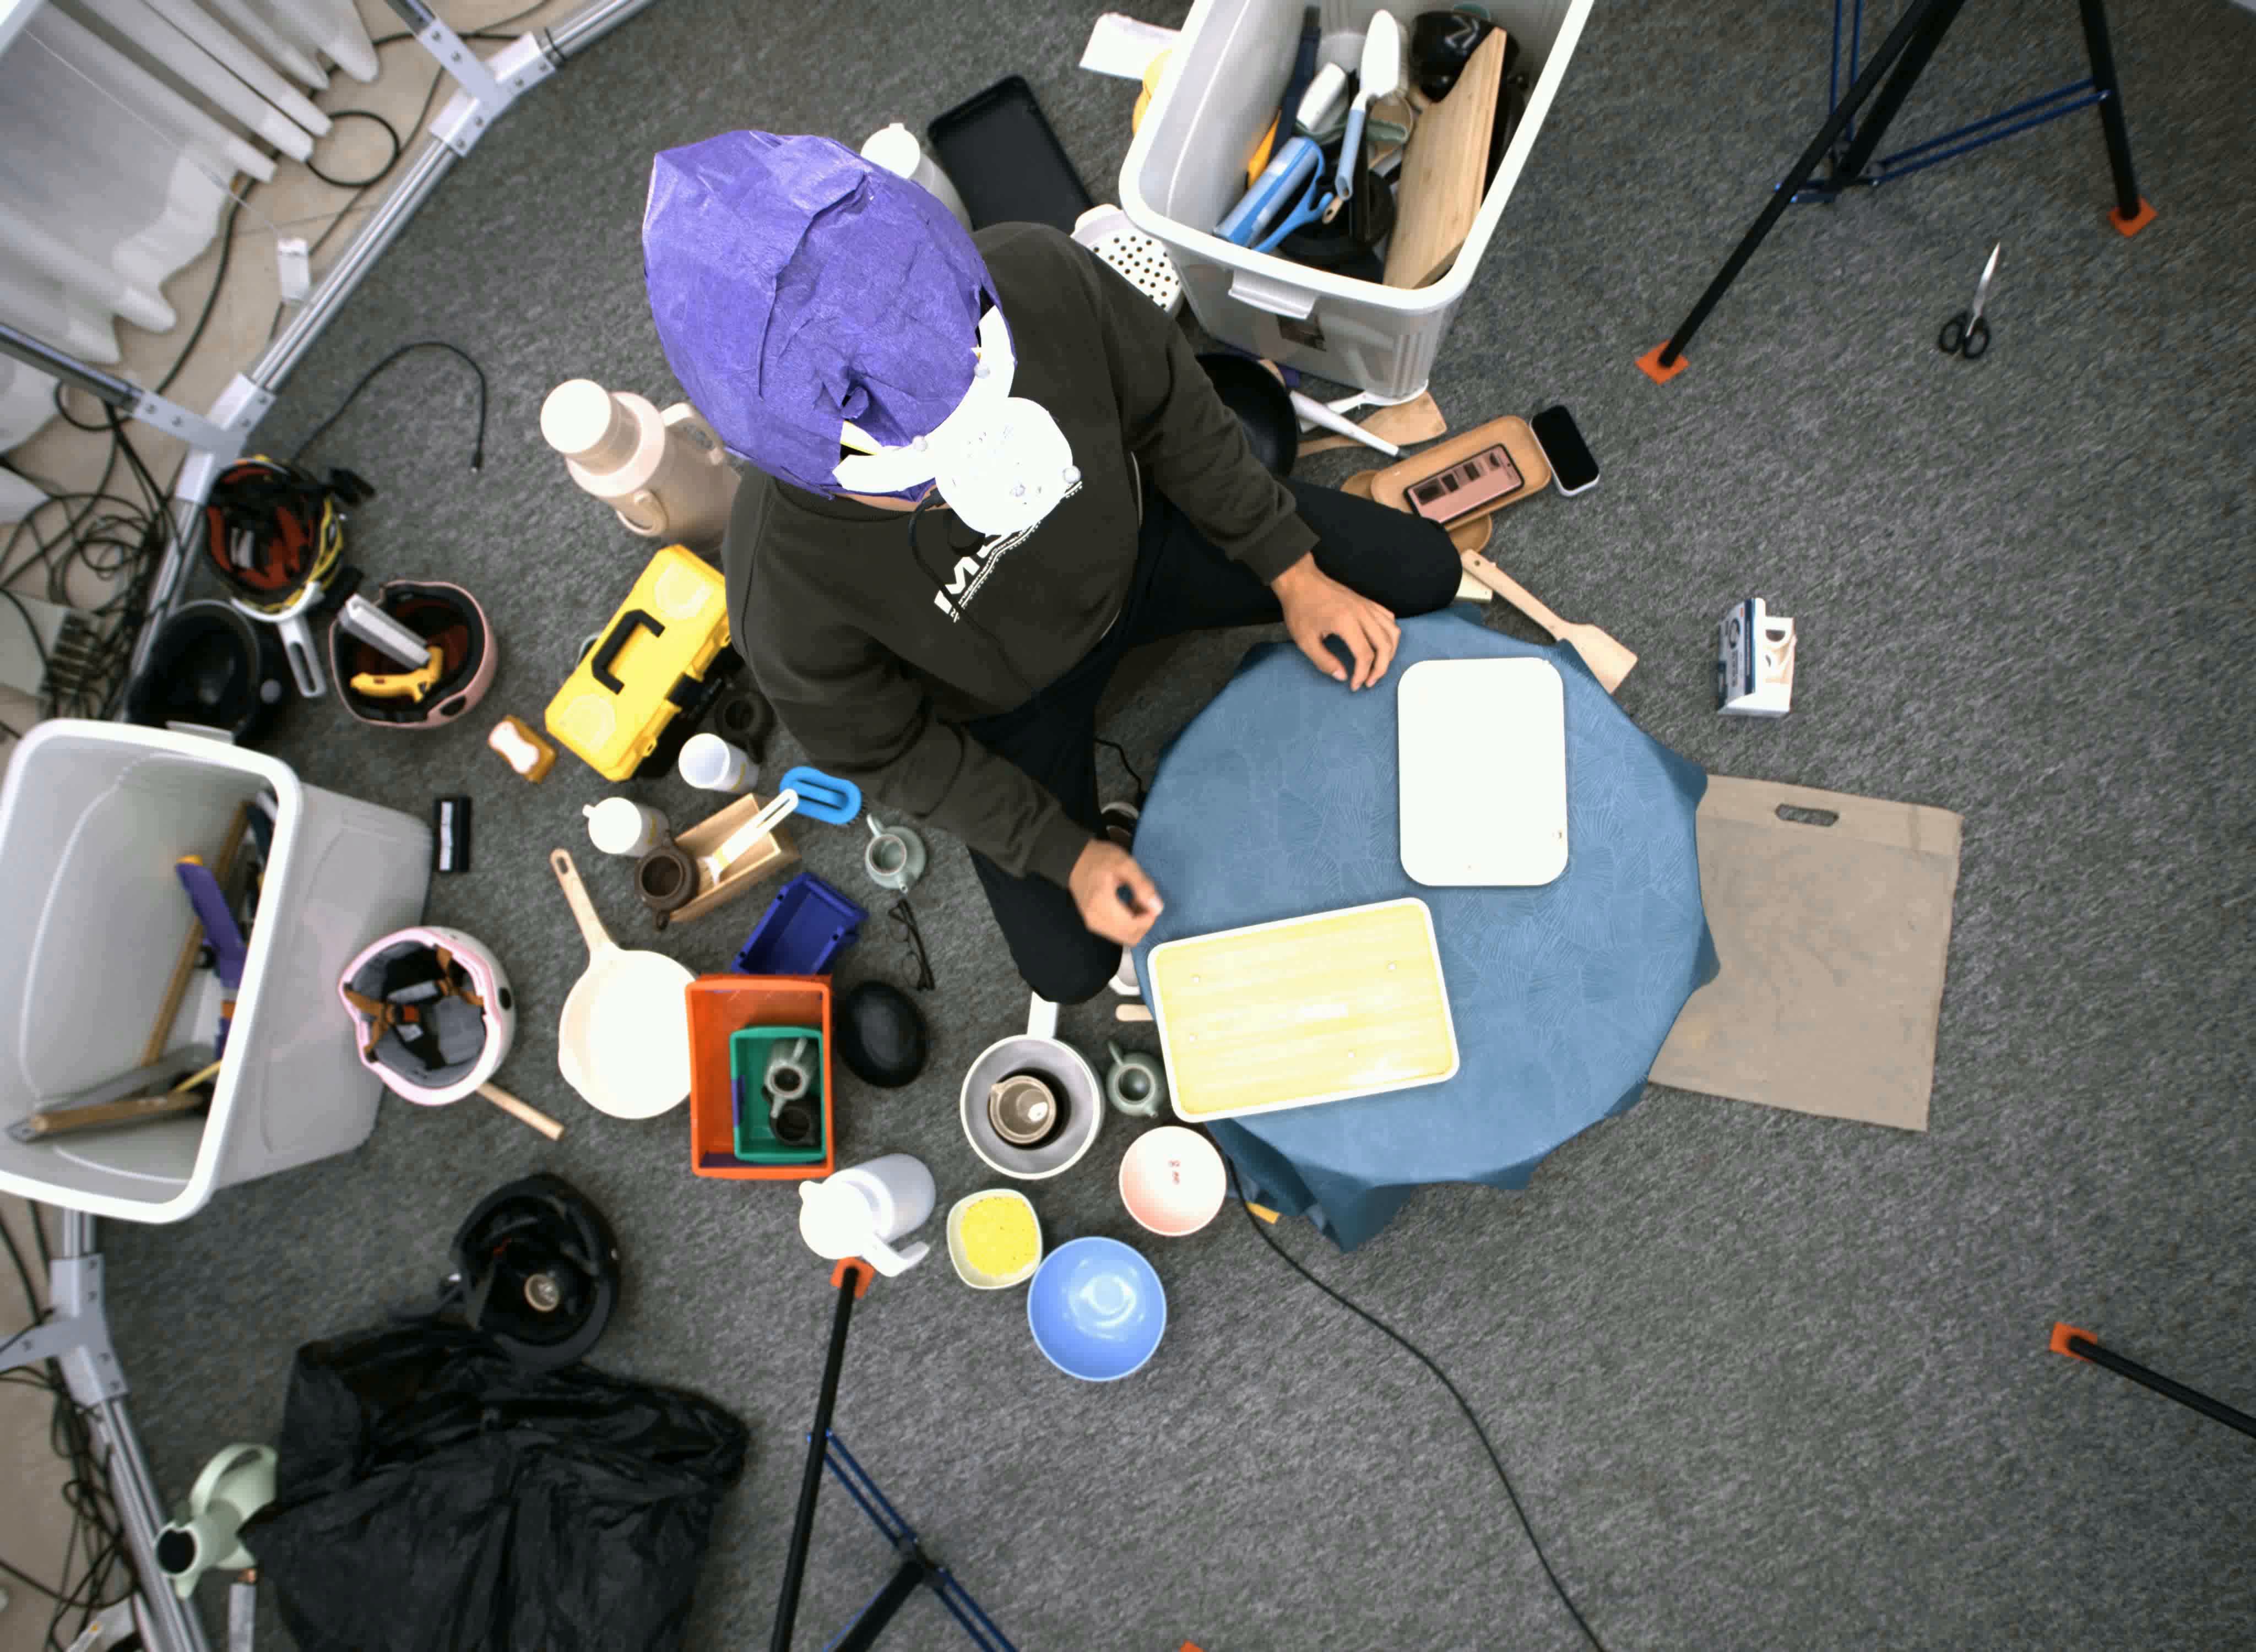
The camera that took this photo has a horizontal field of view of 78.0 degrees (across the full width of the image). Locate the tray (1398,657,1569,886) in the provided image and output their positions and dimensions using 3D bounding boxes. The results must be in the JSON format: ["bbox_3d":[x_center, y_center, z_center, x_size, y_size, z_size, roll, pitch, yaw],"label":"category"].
[{"bbox_3d":[0.371,-0.059,1.440,0.172,0.017,0.238,-1,86,11],"label":"tray"}]

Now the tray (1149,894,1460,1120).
[{"bbox_3d":[0.183,0.189,1.455,0.302,0.027,0.190,-12,84,10],"label":"tray"}]
